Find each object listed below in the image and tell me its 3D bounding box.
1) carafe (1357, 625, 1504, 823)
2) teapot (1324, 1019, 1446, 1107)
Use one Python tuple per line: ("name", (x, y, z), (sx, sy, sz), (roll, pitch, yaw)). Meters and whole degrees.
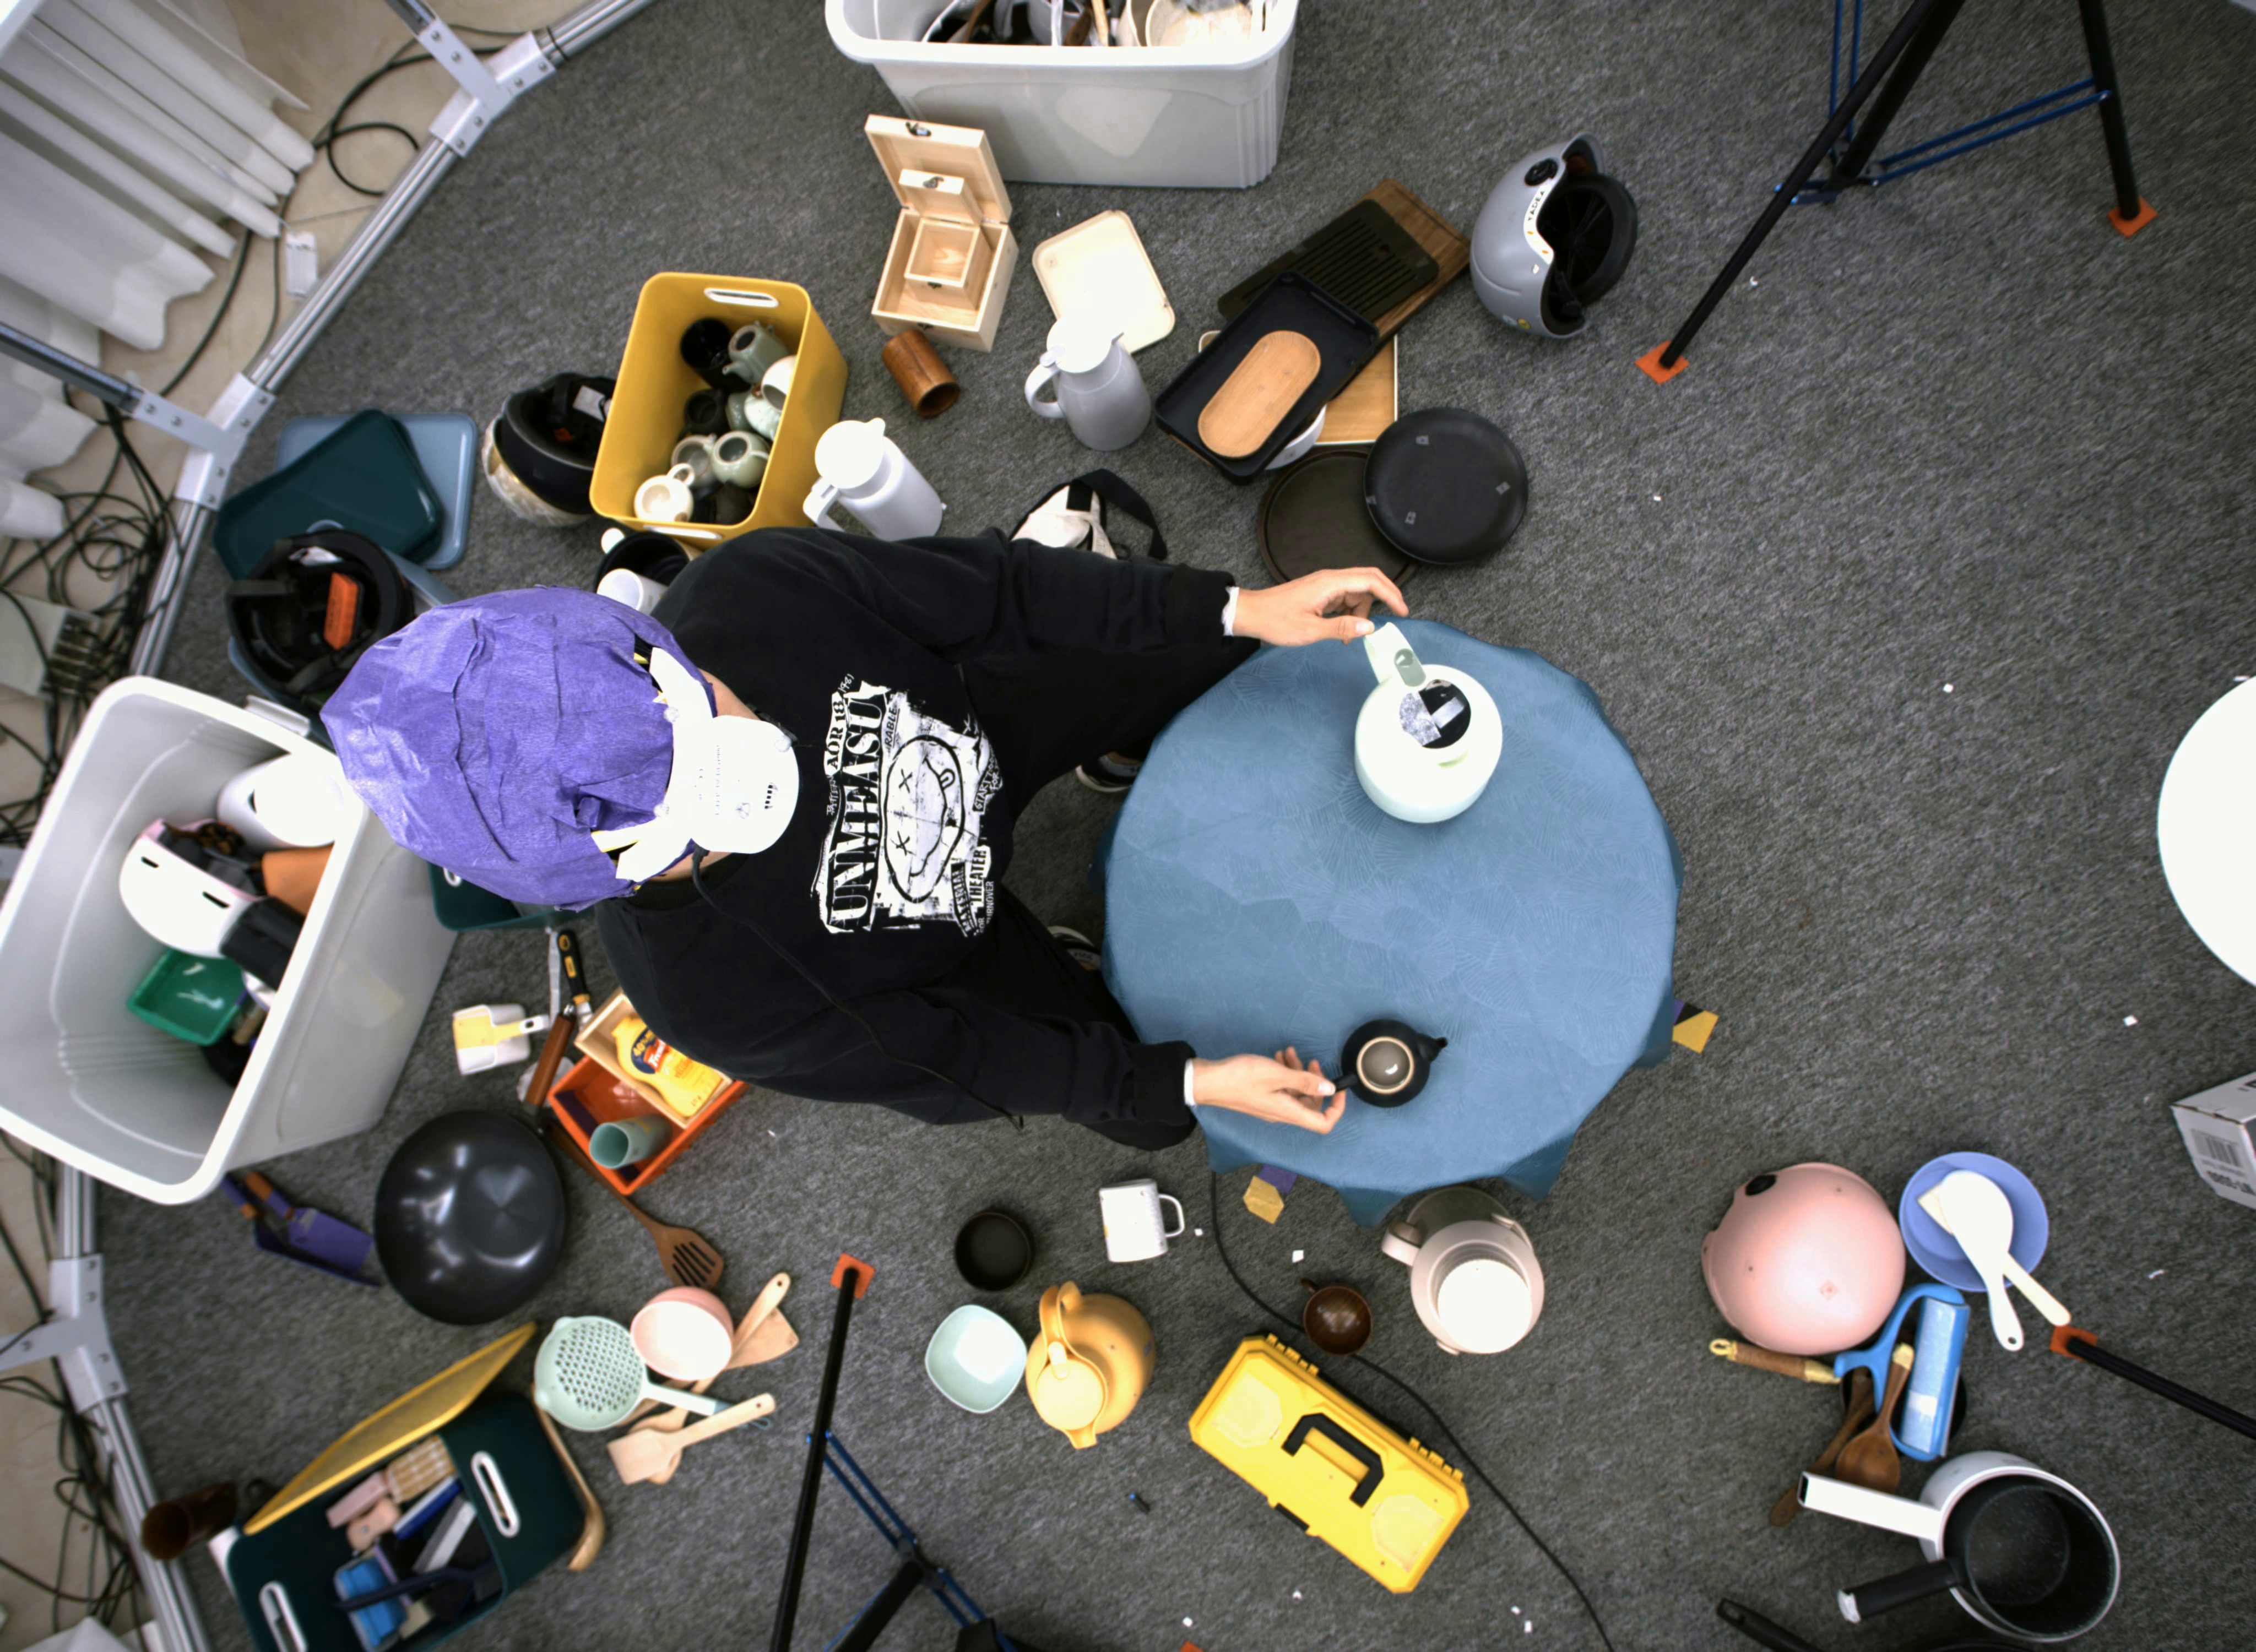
("carafe", (0.287, -0.100, 1.339), (0.145, 0.257, 0.185), (-29, 78, 8))
("teapot", (0.264, 0.243, 1.427), (0.134, 0.053, 0.090), (-24, 81, 8))
